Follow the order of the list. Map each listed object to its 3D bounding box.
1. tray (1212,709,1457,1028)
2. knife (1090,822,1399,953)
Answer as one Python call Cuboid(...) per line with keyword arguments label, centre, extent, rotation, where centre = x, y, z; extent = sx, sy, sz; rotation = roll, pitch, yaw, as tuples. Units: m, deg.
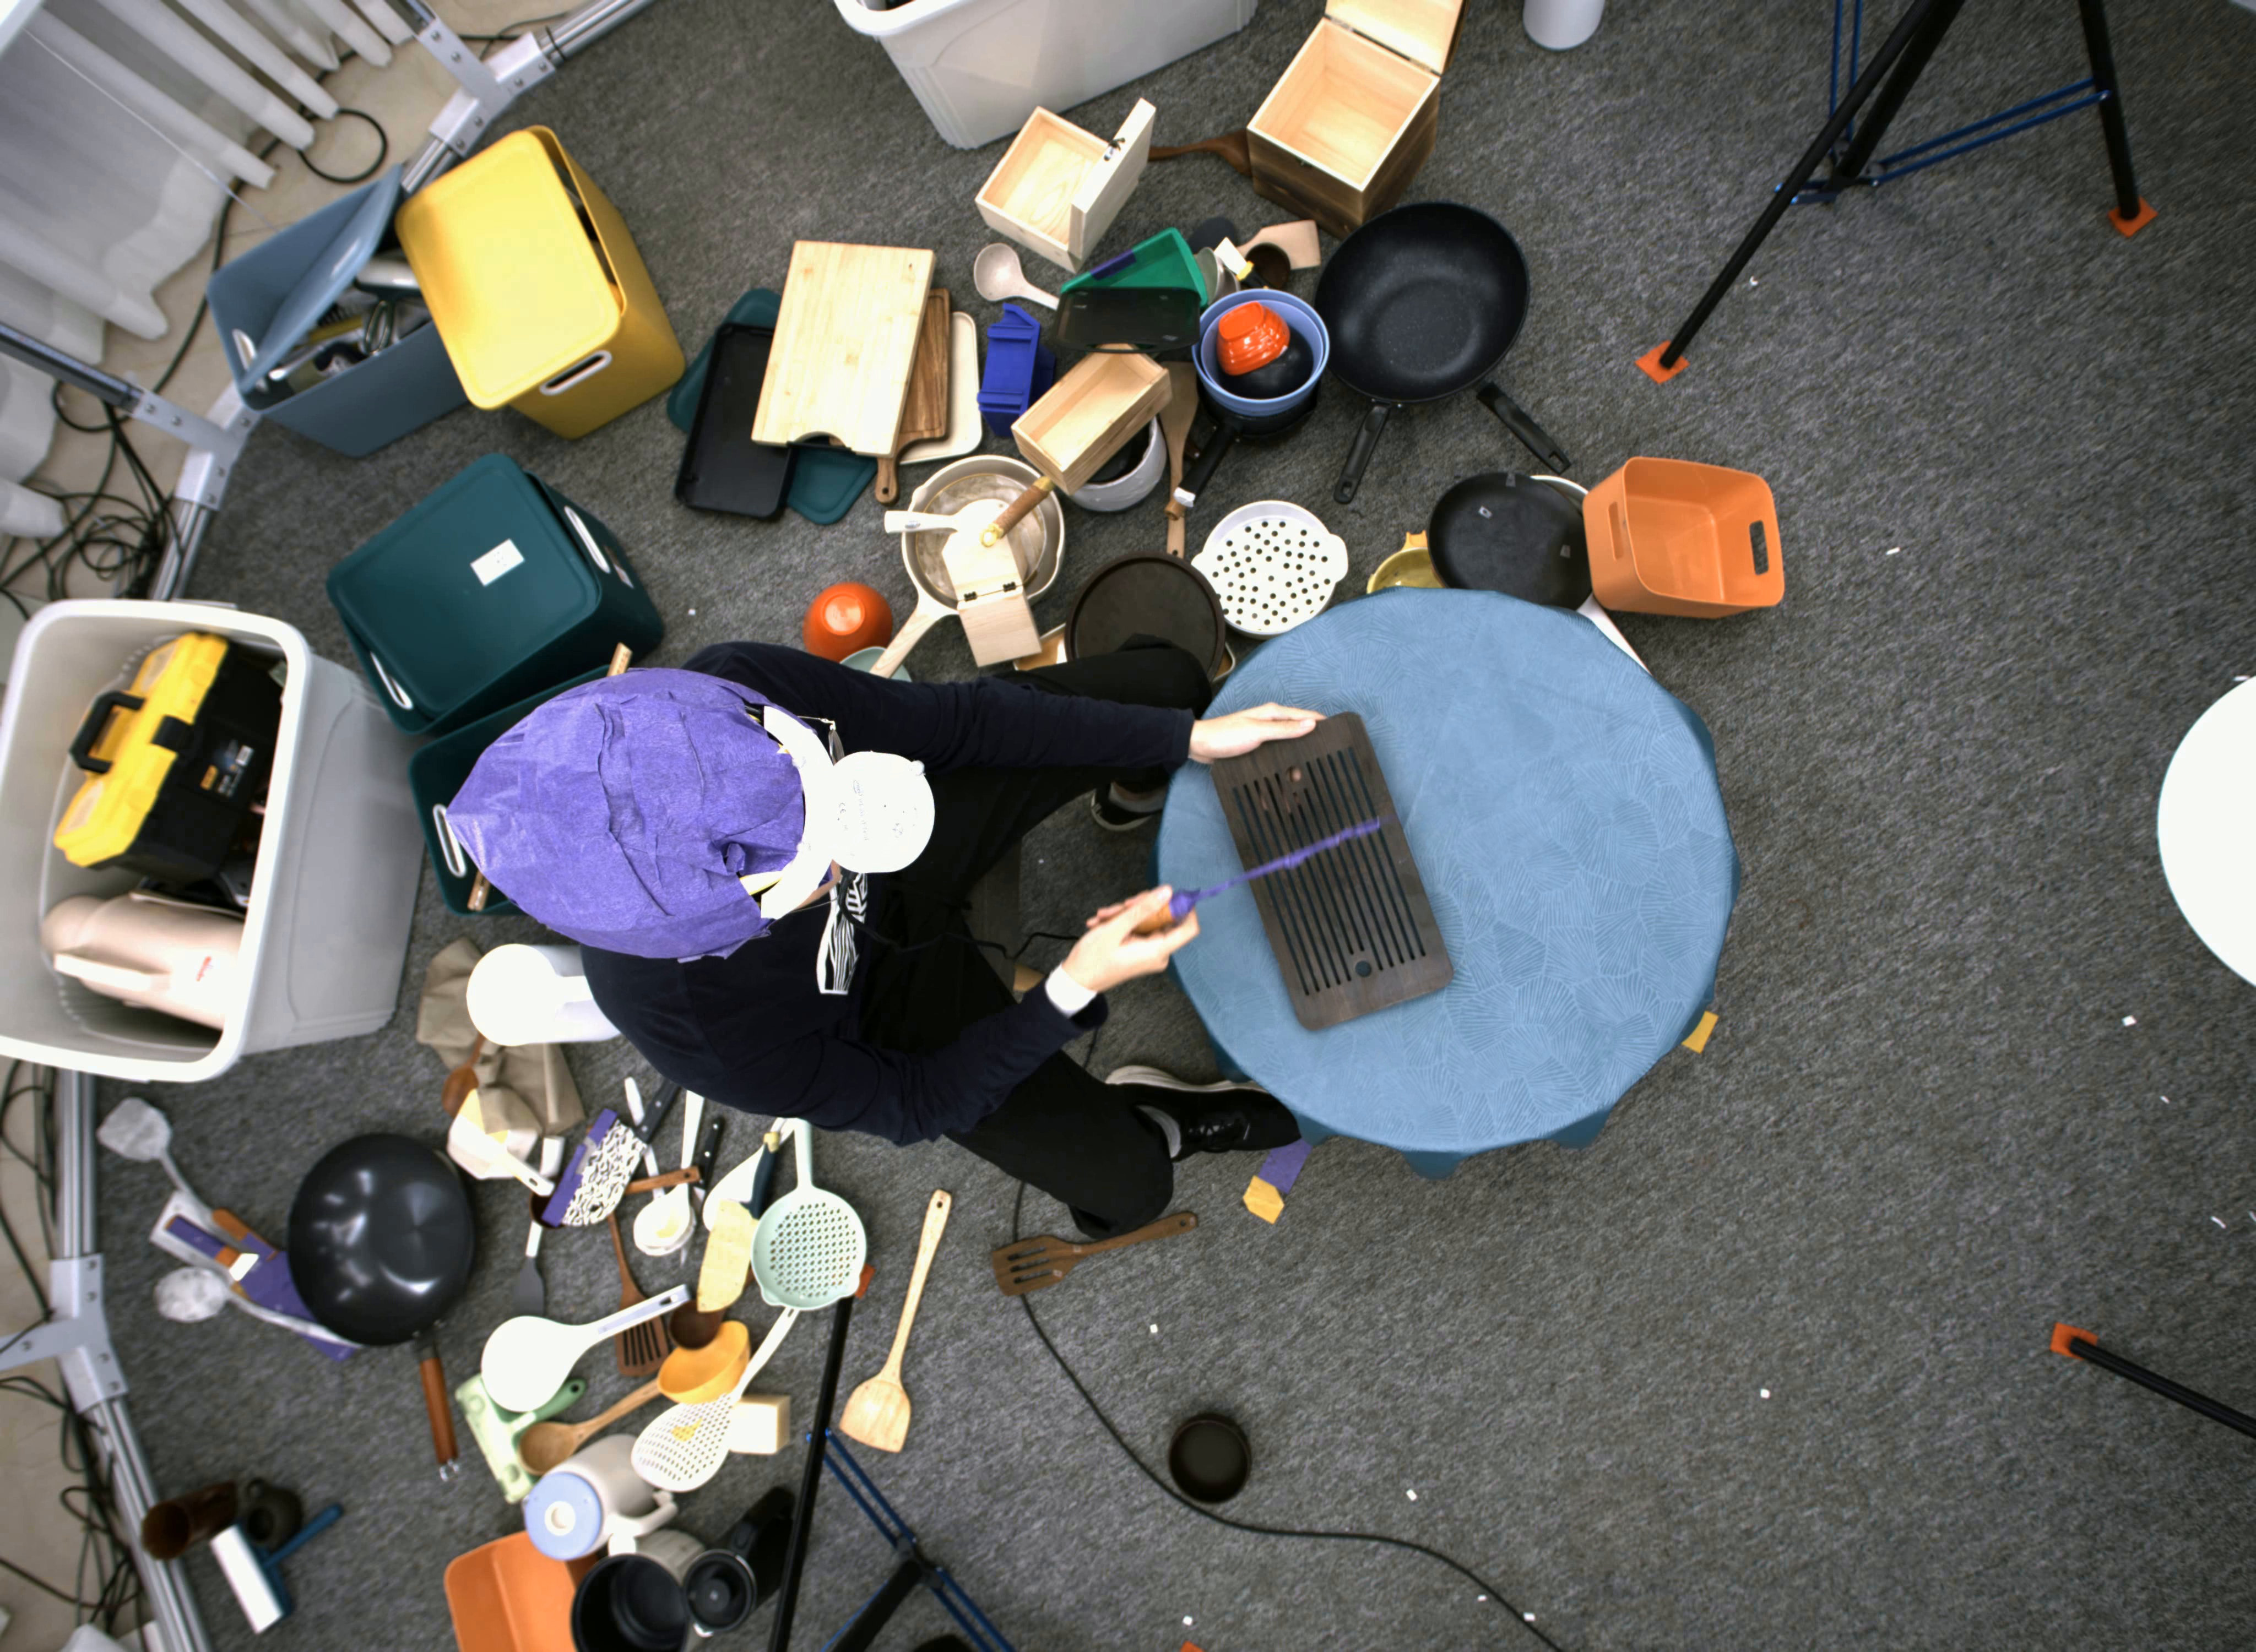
Cuboid(label="tray", centre=(0.215, 0.044, 1.447), extent=(0.171, 0.018, 0.305), rotation=(-20, 90, 9))
Cuboid(label="knife", centre=(0.115, 0.059, 1.354), extent=(0.319, 0.103, 0.032), rotation=(-21, 84, 24))
